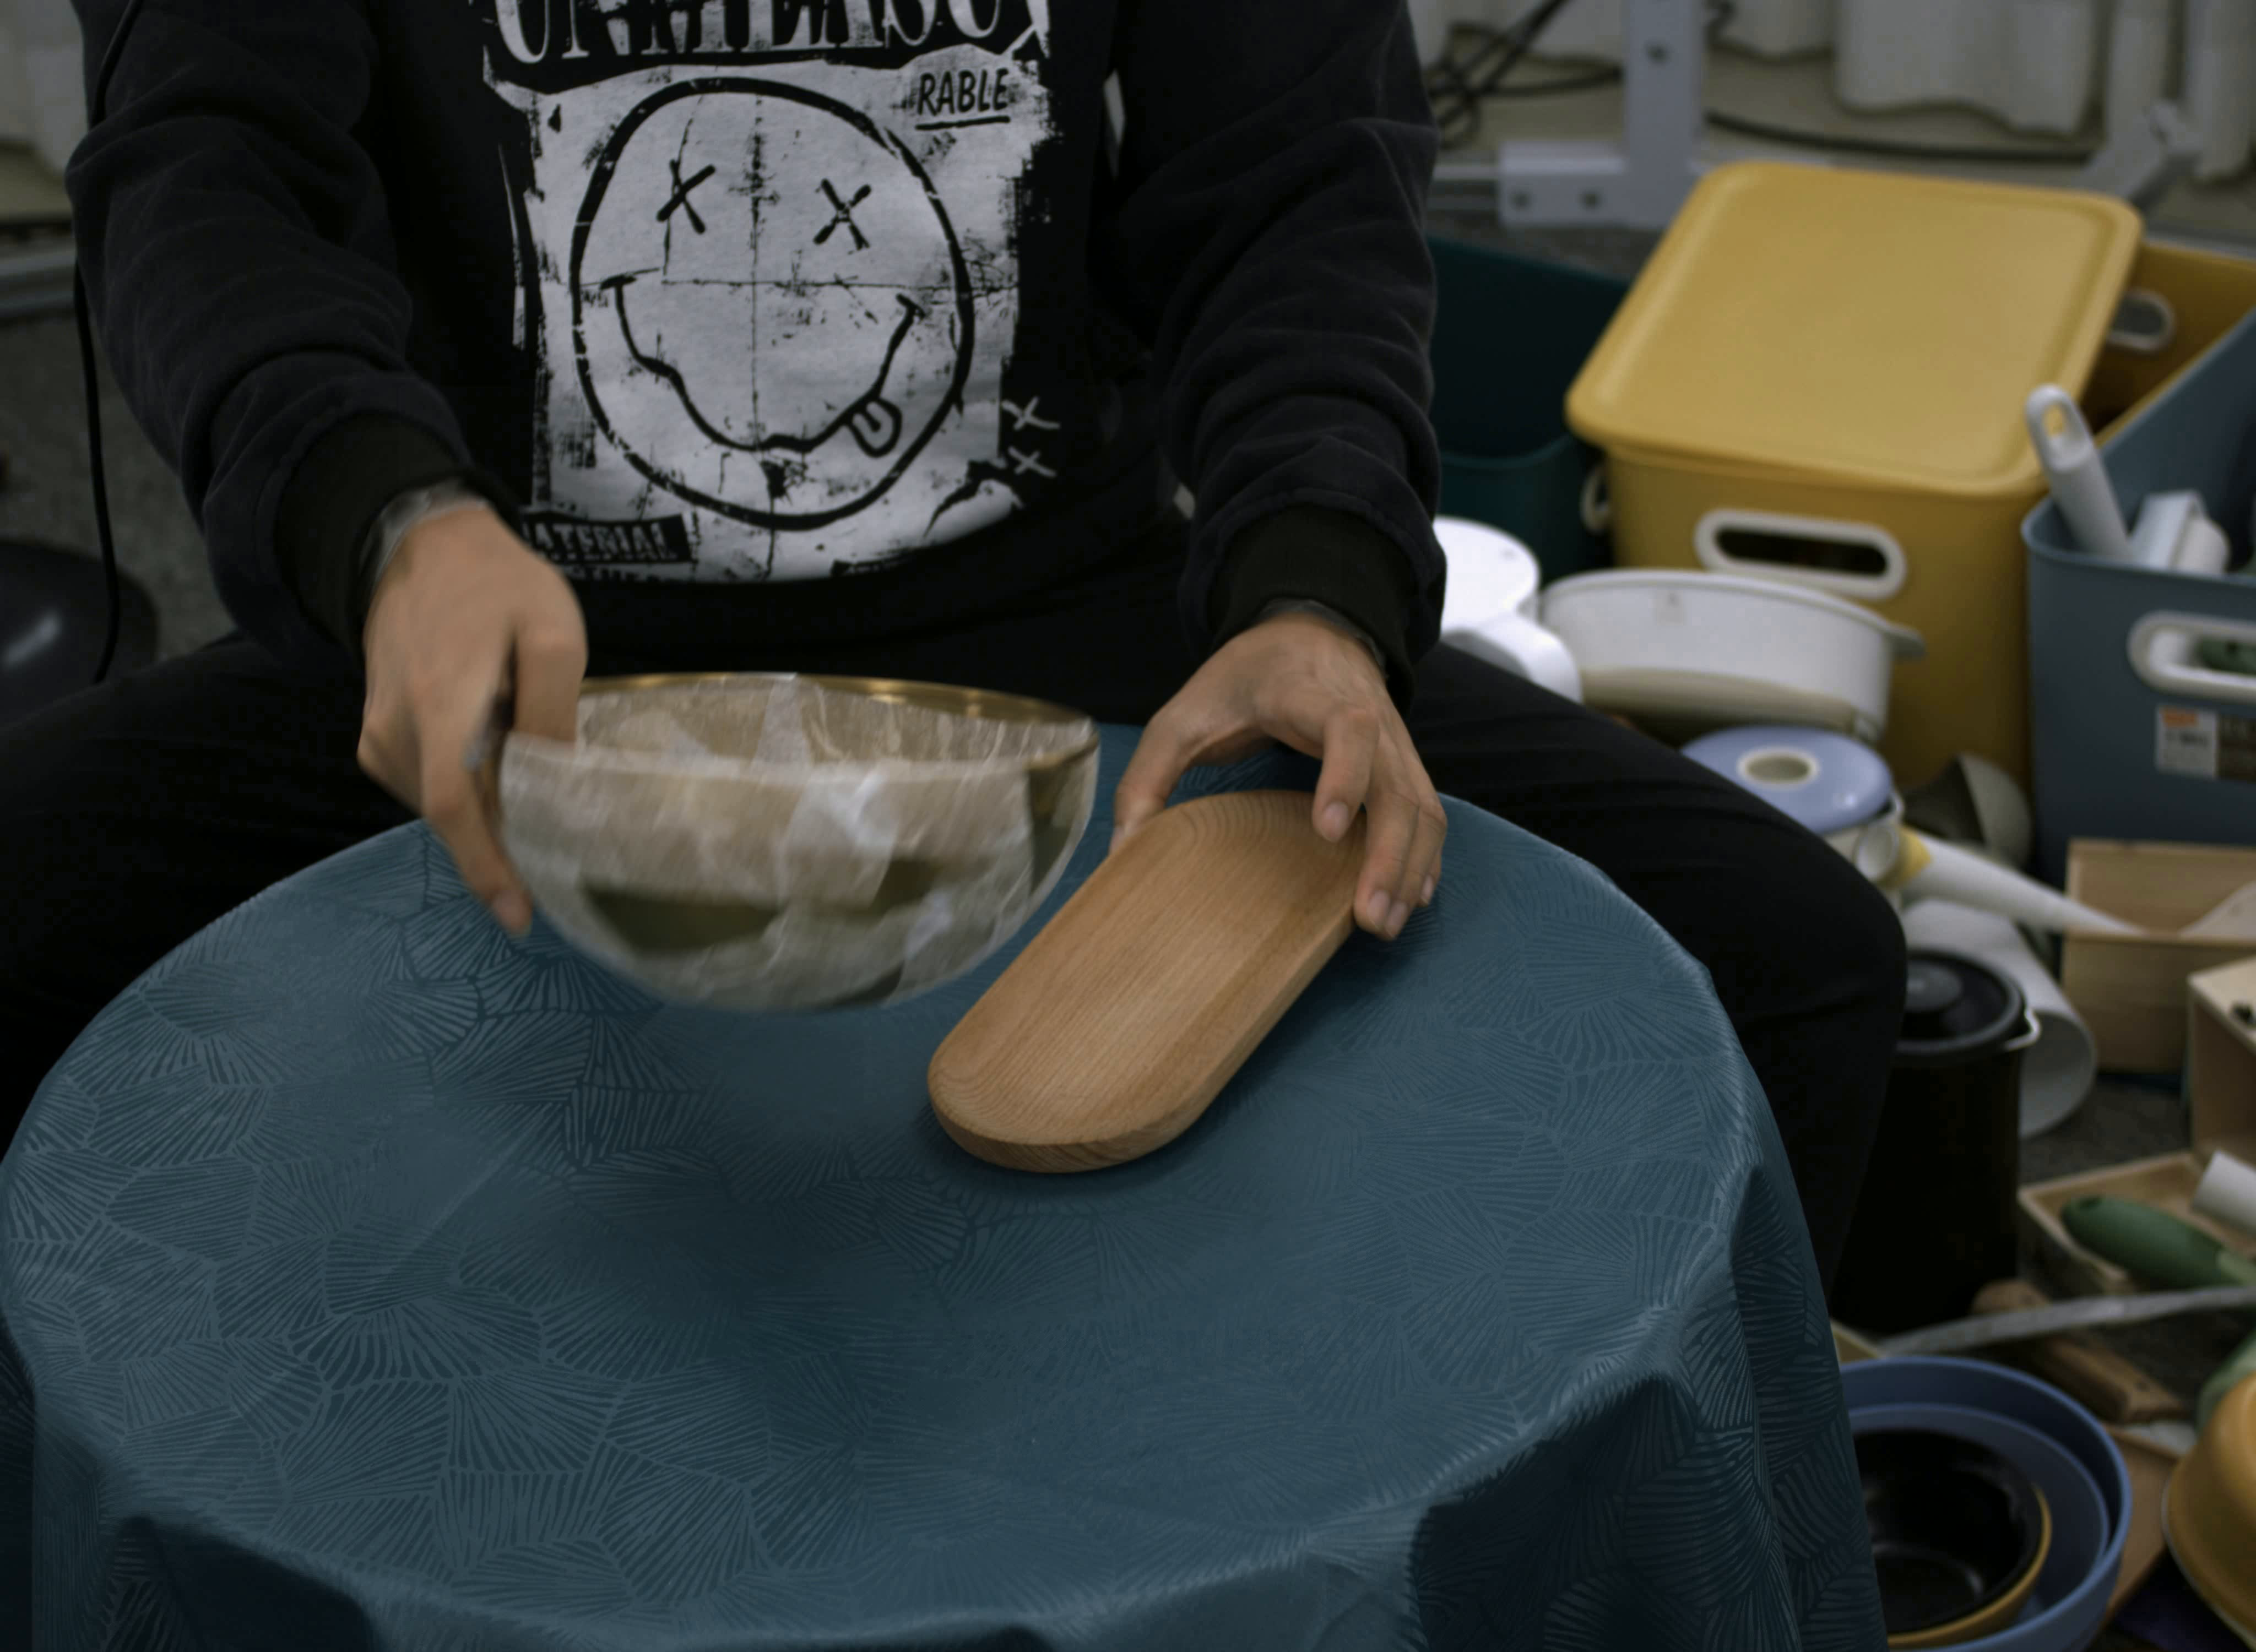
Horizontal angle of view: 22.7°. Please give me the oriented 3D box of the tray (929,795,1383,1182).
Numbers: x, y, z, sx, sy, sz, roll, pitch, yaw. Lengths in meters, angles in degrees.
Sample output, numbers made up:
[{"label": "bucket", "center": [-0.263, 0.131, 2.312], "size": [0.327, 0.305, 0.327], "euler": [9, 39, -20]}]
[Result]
[{"label": "tray", "center": [0.012, 0.055, 1.953], "size": [0.101, 0.020, 0.235], "euler": [6, 35, 27]}]

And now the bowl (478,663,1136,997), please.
[{"label": "bowl", "center": [-0.104, 0.004, 1.804], "size": [0.214, 0.094, 0.215], "euler": [2, 8, 0]}]
